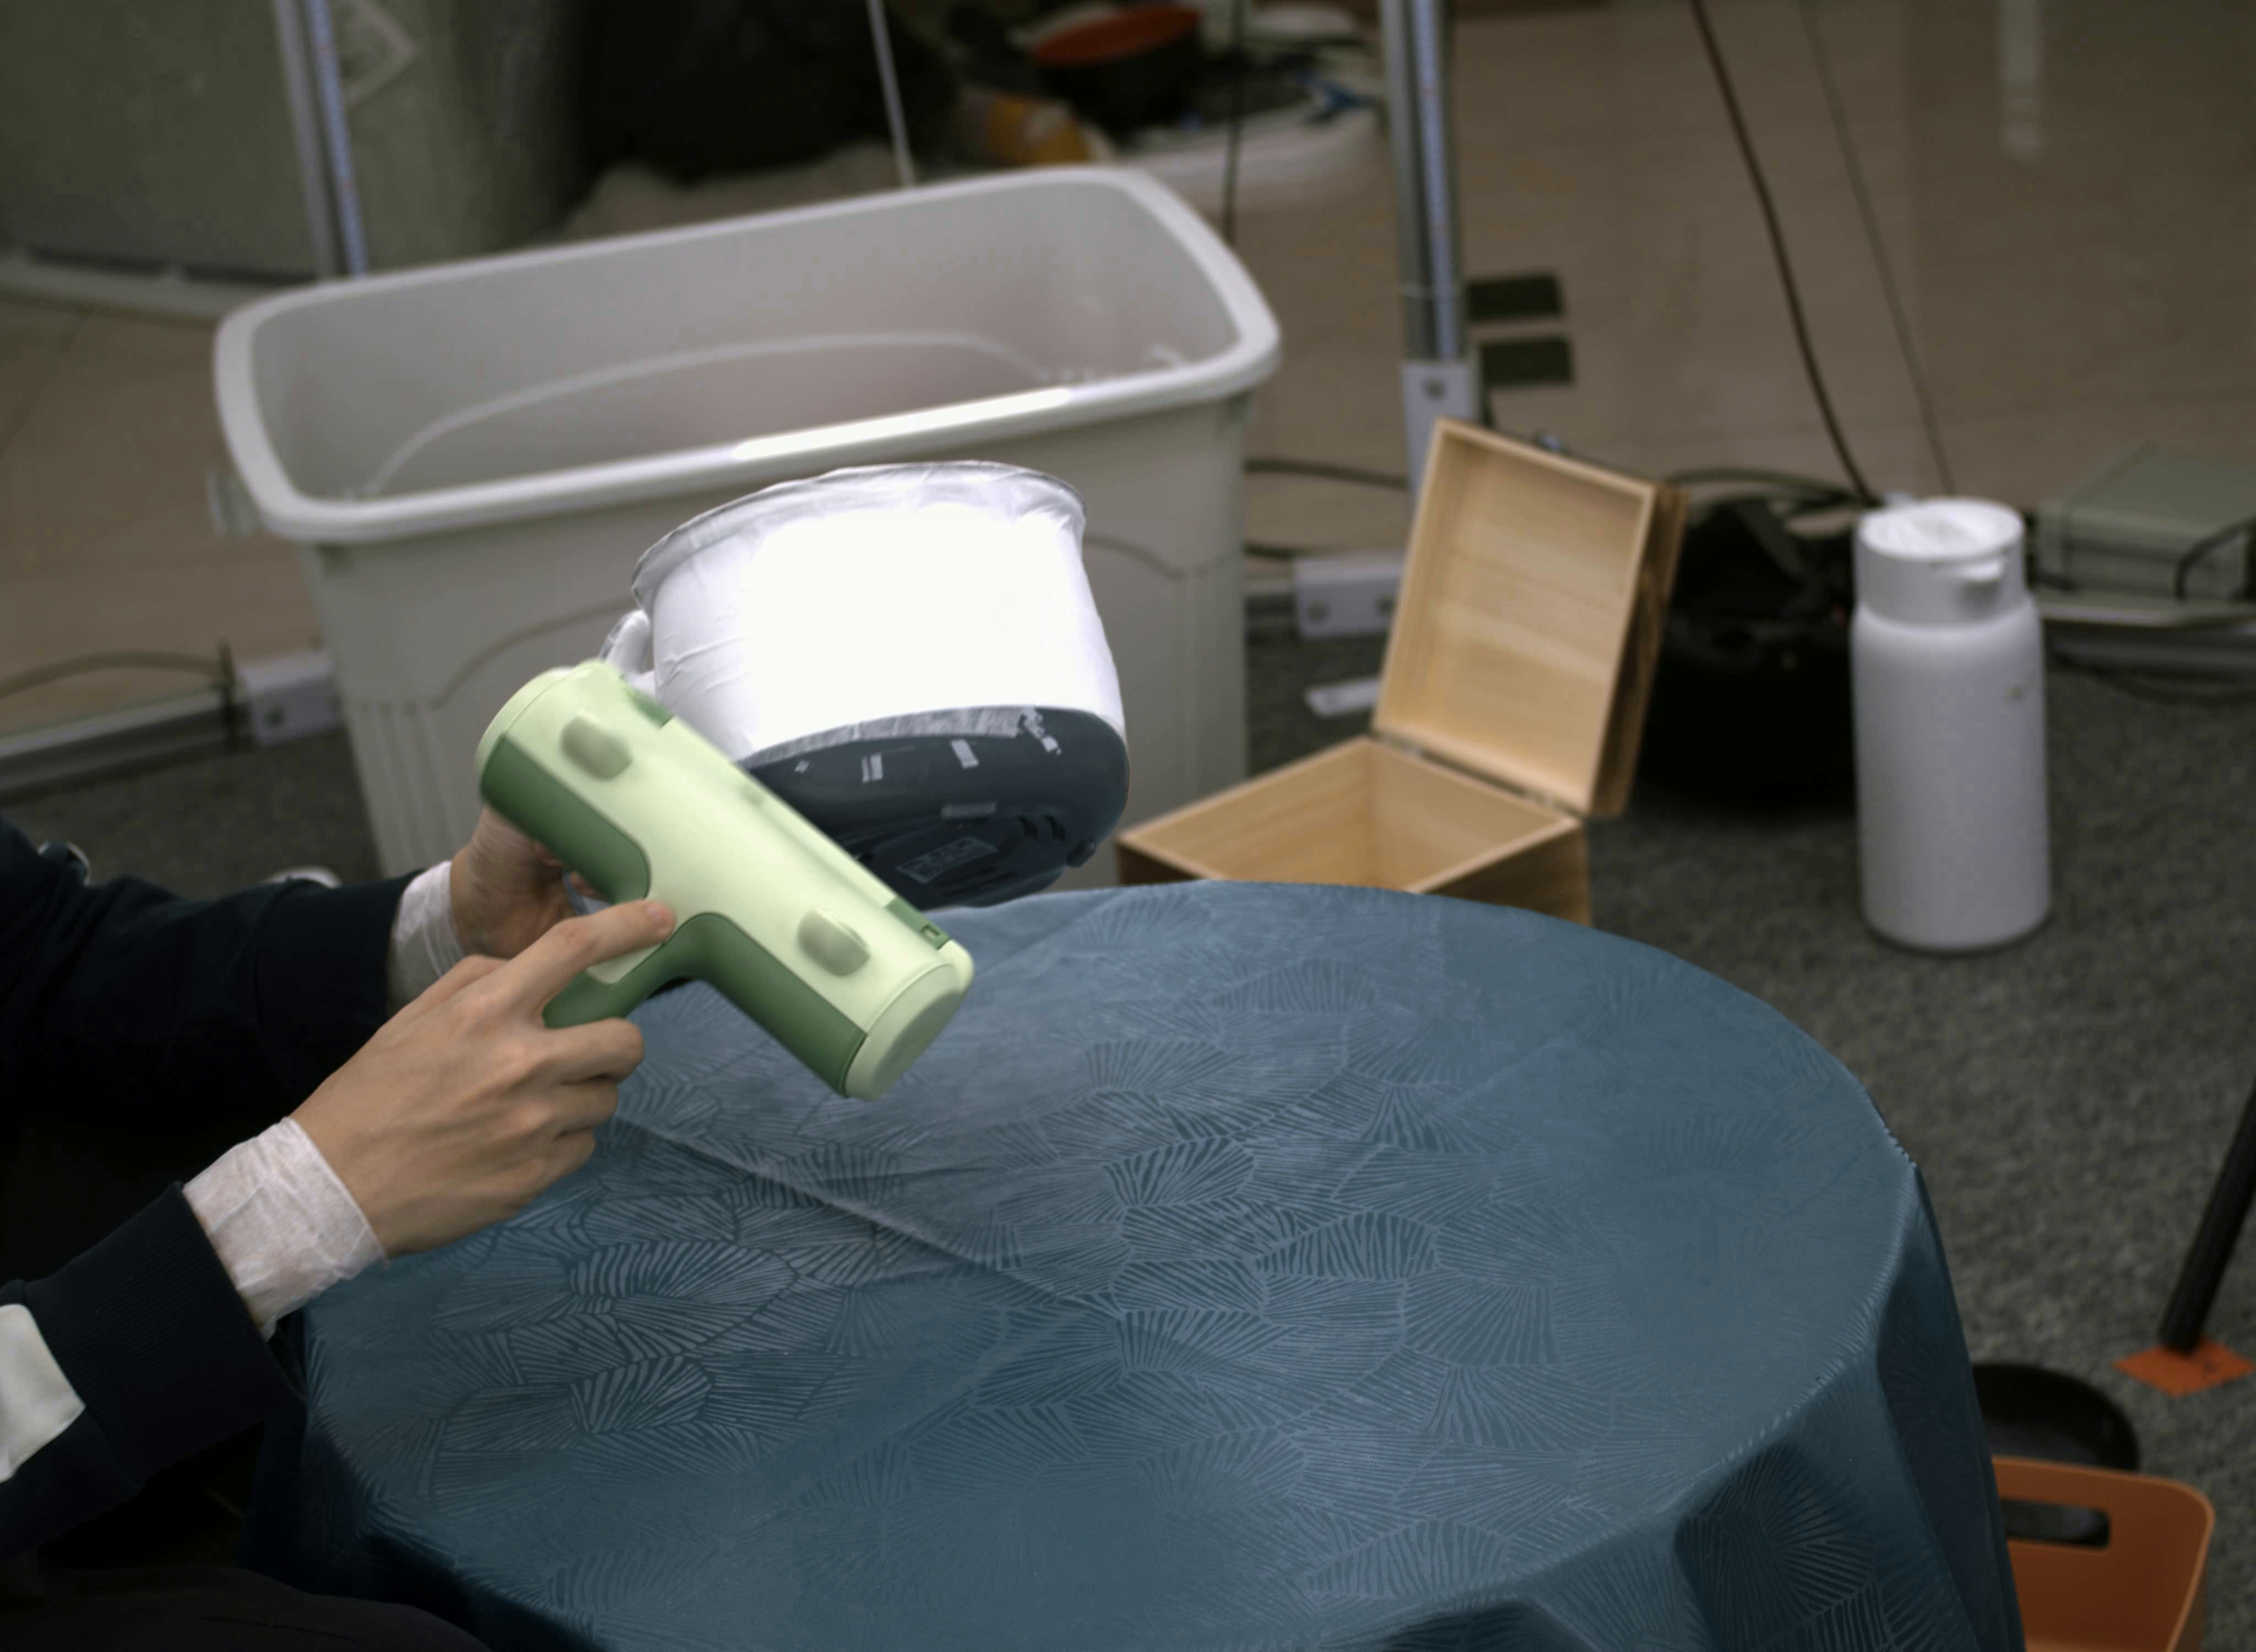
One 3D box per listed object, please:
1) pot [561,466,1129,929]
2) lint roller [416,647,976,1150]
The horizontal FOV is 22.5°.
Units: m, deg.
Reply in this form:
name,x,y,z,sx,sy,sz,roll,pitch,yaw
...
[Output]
name,x,y,z,sx,sy,sz,roll,pitch,yaw
pot,-0.117,-0.038,2.153,0.234,0.135,0.179,-16,-15,23
lint roller,-0.181,0.042,2.002,0.197,0.083,0.181,41,57,14
